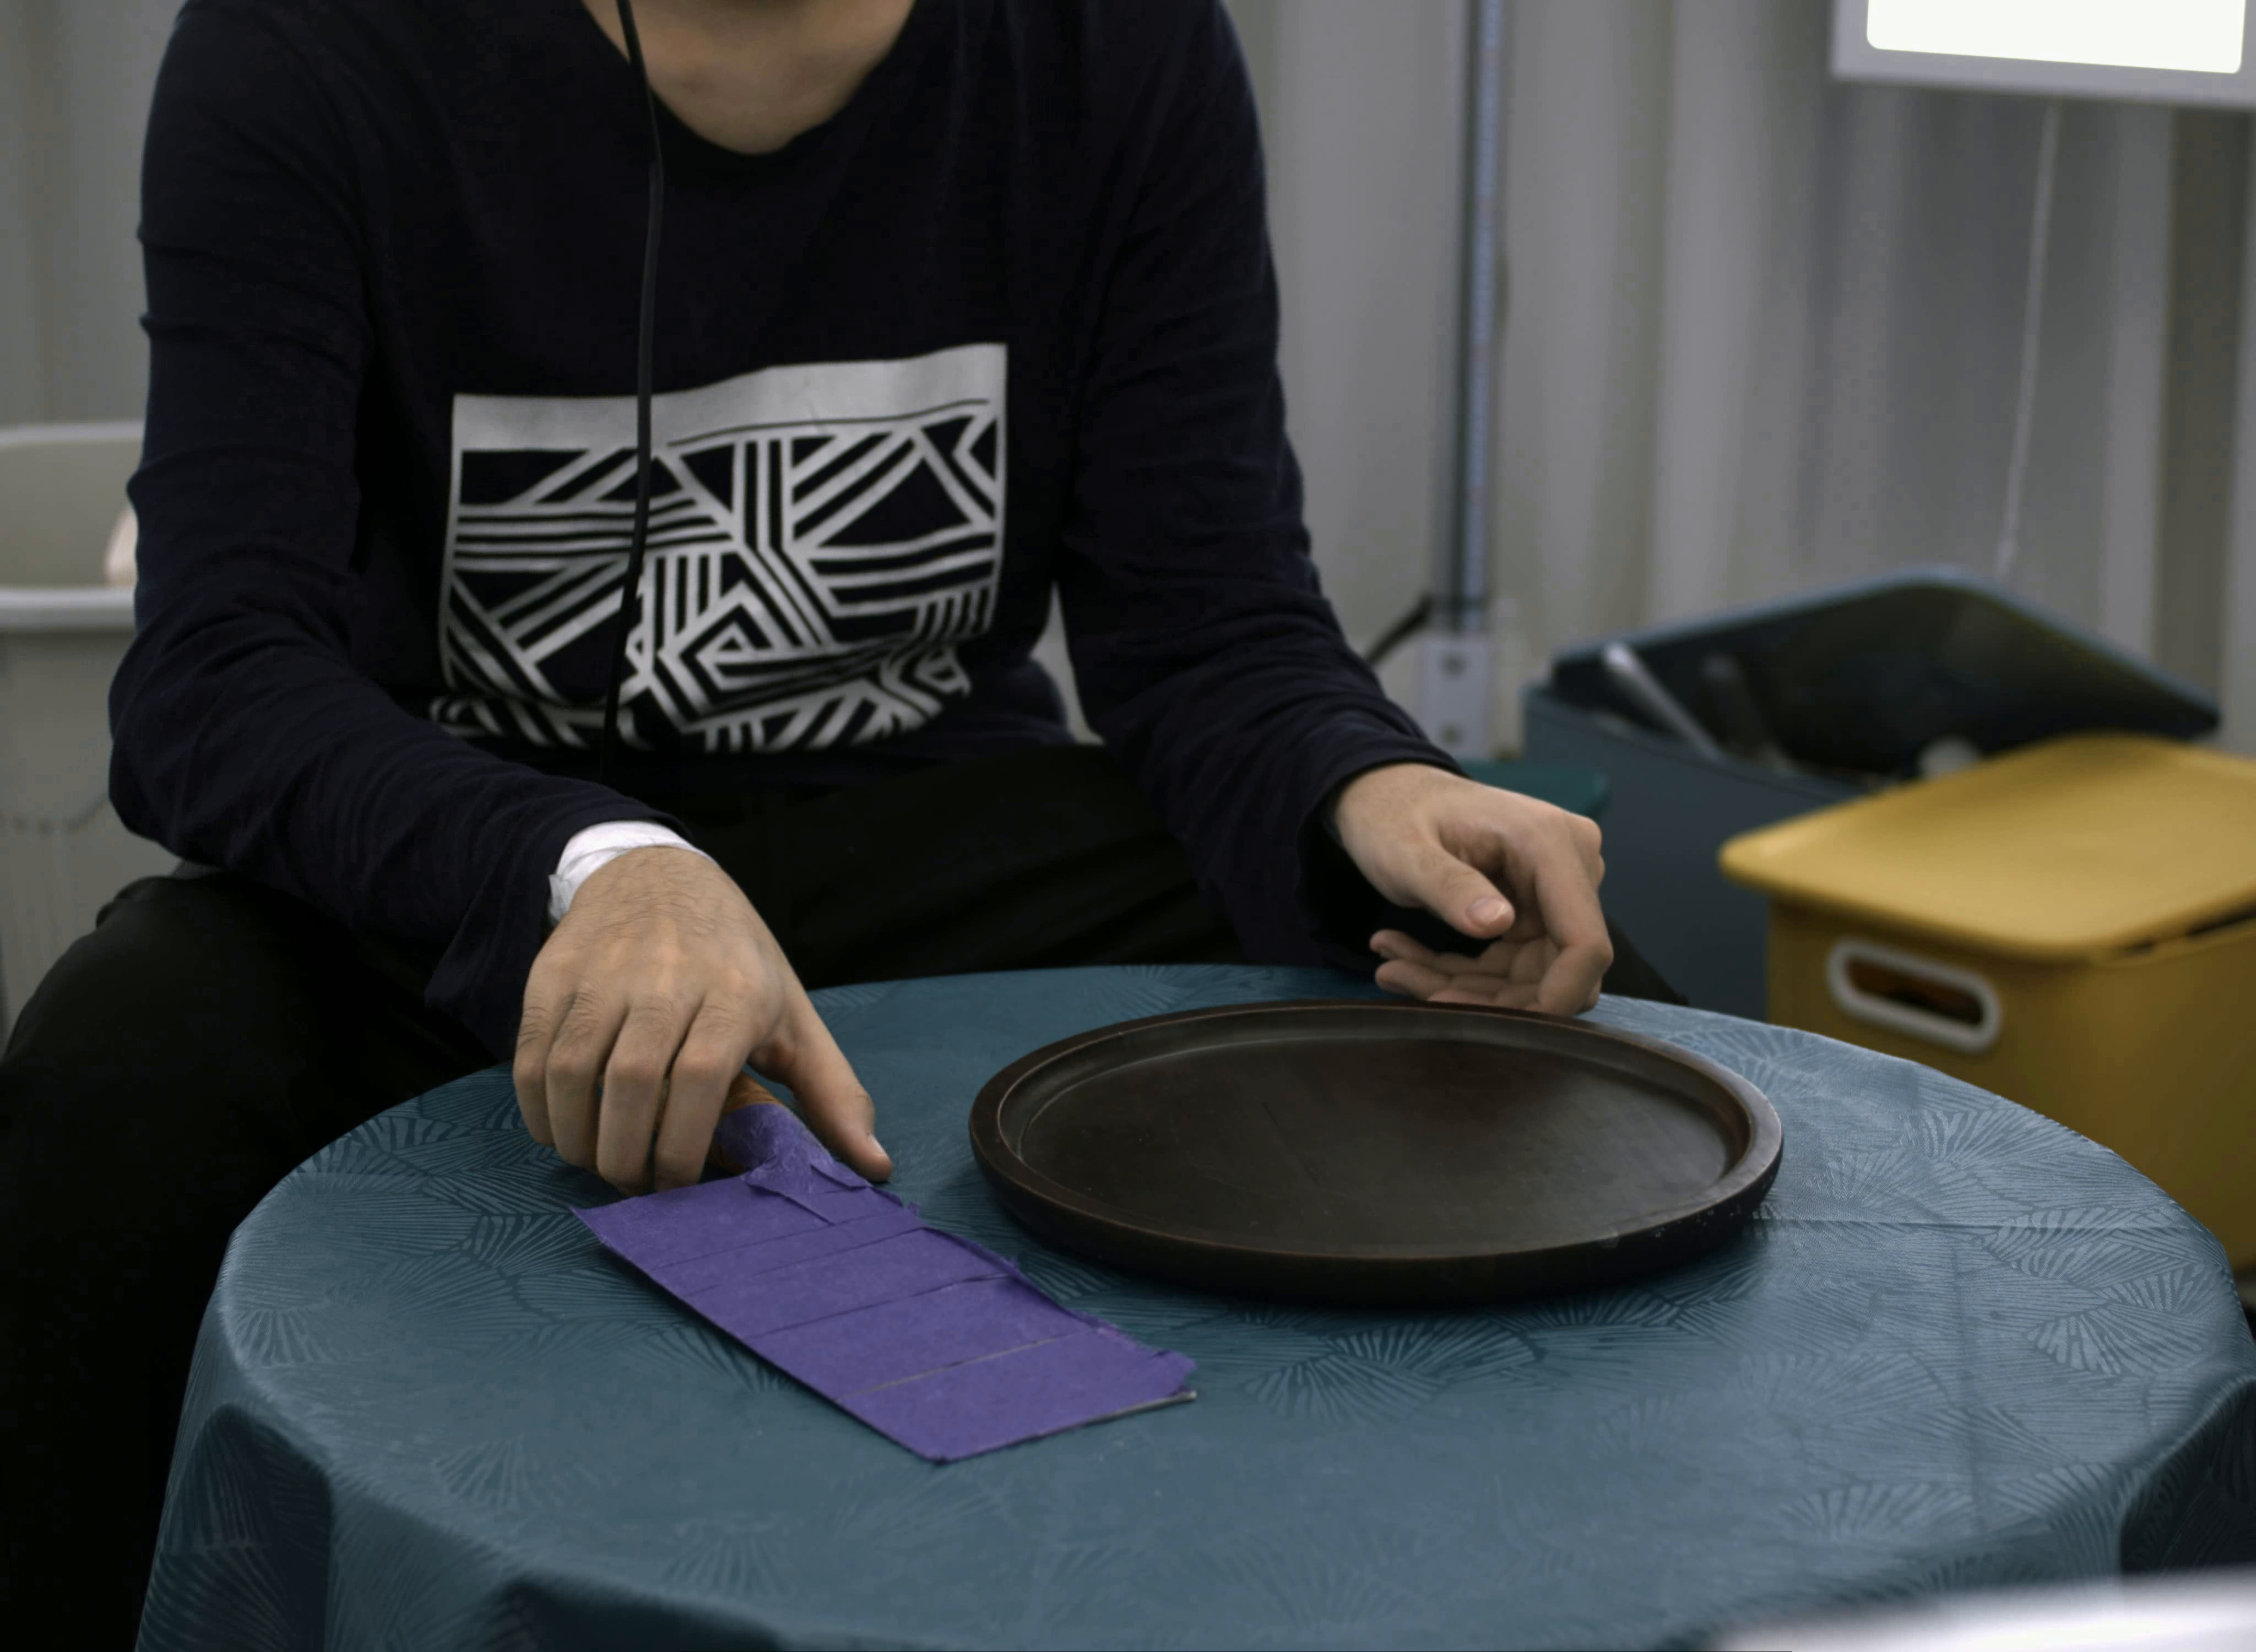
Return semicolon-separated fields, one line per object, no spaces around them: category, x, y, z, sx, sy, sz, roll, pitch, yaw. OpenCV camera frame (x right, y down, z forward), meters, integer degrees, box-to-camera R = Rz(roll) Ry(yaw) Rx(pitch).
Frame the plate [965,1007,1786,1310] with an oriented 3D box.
plate;0.076;0.099;1.629;0.254;0.029;0.253;1;16;0

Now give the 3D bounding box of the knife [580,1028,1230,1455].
knife;-0.100;0.118;1.549;0.104;0.032;0.311;-10;19;-34
